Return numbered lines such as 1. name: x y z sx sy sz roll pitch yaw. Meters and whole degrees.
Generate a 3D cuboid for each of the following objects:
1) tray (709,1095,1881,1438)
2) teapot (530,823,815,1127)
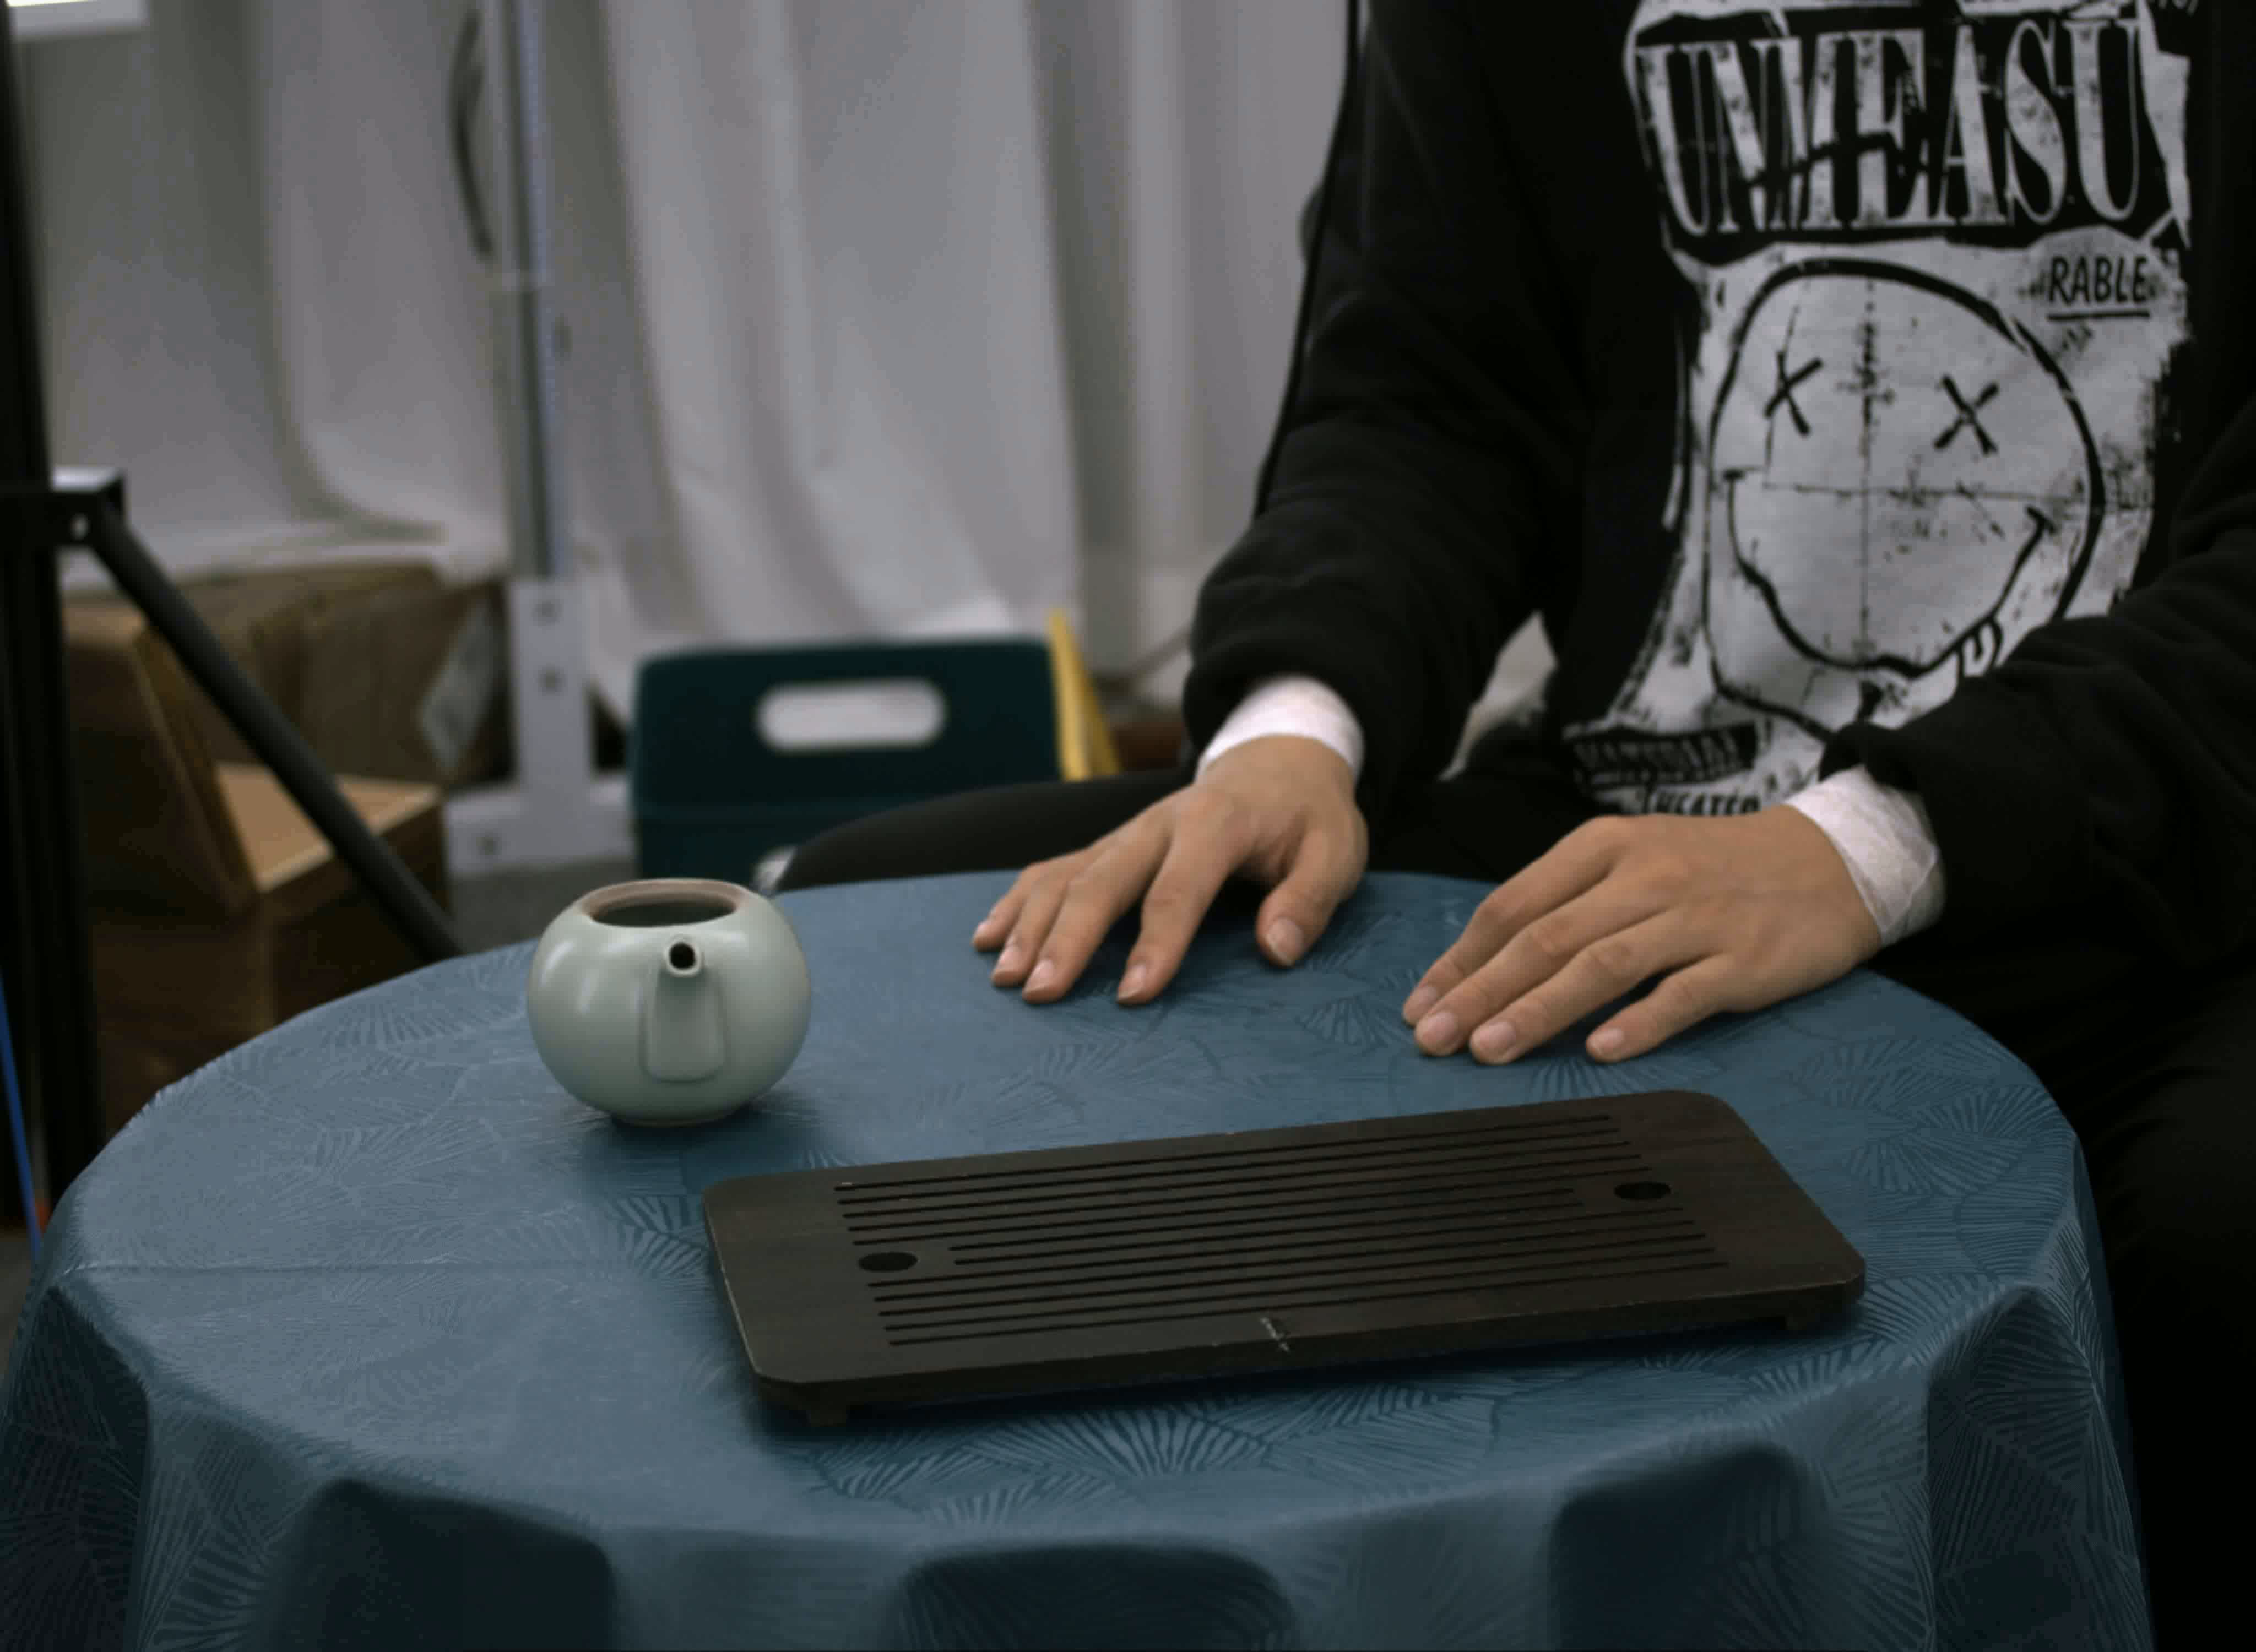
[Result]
1. tray: 0.042 0.121 1.470 0.303 0.018 0.172 -4 16 -7
2. teapot: -0.140 0.052 1.644 0.087 0.075 0.145 -4 17 -7
